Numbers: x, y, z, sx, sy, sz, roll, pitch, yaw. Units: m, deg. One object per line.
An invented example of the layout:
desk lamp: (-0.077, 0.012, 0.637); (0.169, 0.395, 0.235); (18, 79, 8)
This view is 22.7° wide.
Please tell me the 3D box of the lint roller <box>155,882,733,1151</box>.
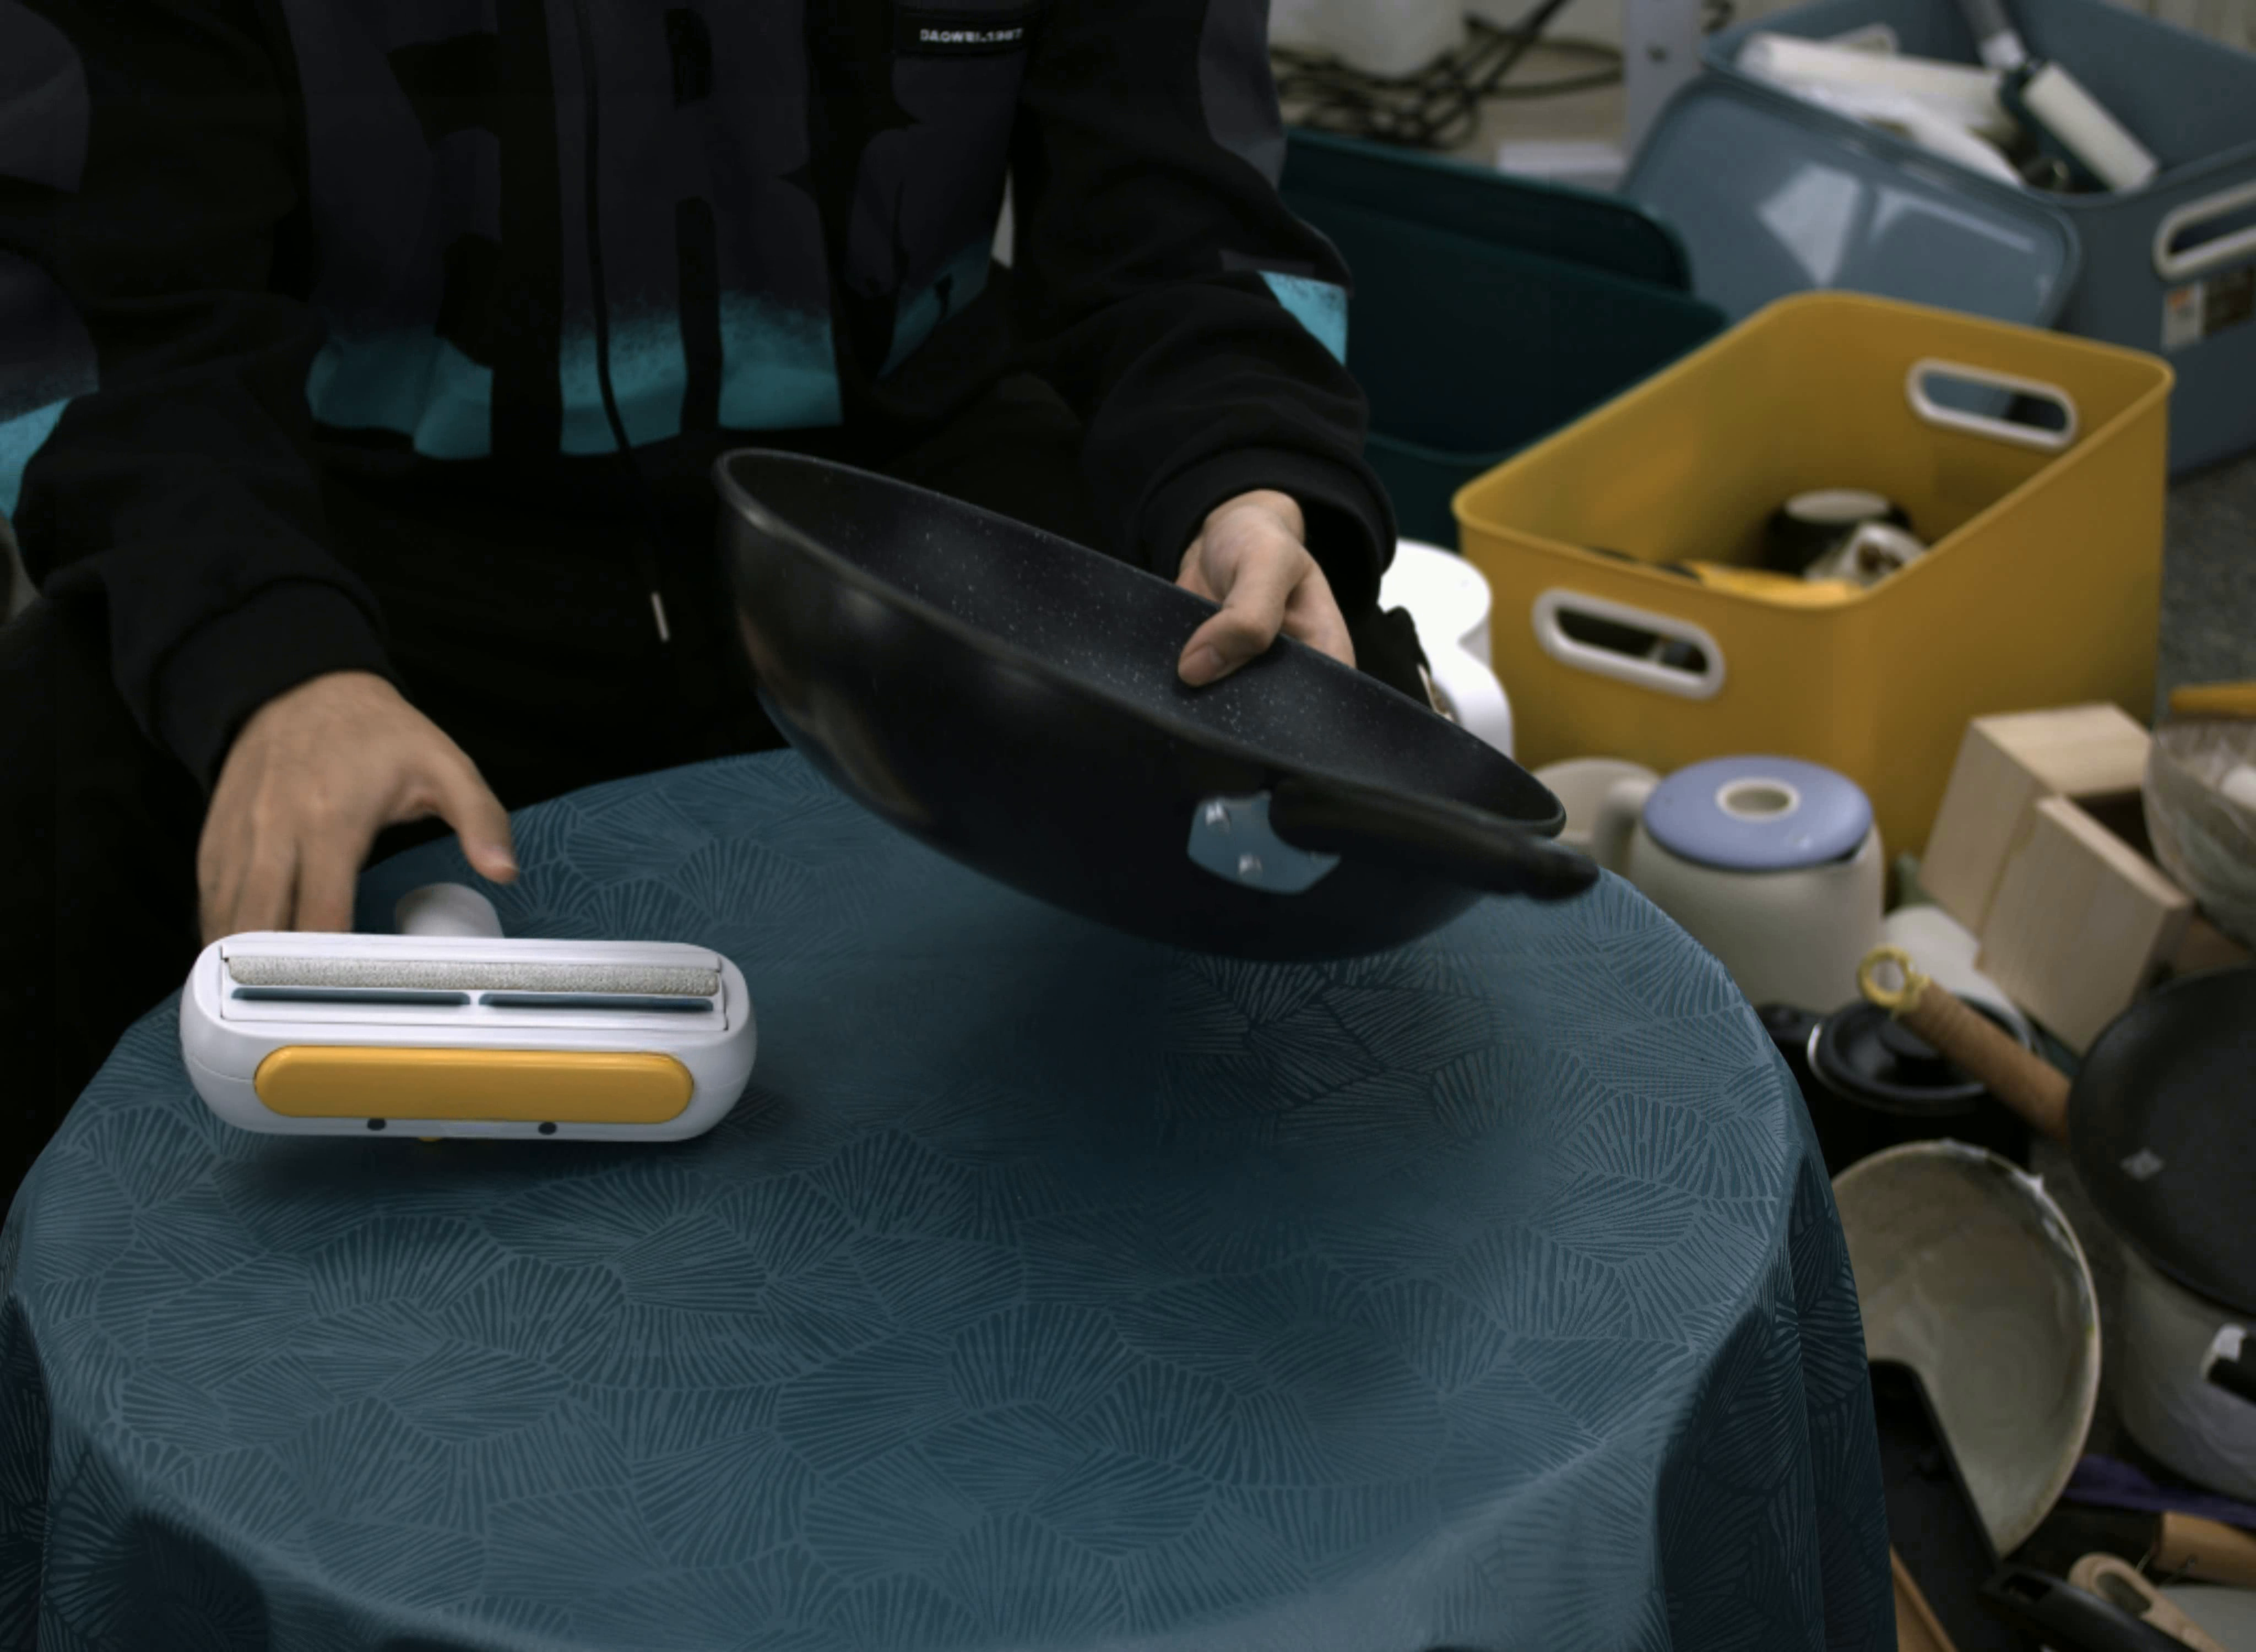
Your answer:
lint roller: (-0.235, 0.053, 1.943); (0.192, 0.073, 0.195); (0, 25, -6)

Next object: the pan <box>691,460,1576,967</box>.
pan: (0.019, -0.011, 1.814); (0.309, 0.111, 0.479); (17, 11, -25)
